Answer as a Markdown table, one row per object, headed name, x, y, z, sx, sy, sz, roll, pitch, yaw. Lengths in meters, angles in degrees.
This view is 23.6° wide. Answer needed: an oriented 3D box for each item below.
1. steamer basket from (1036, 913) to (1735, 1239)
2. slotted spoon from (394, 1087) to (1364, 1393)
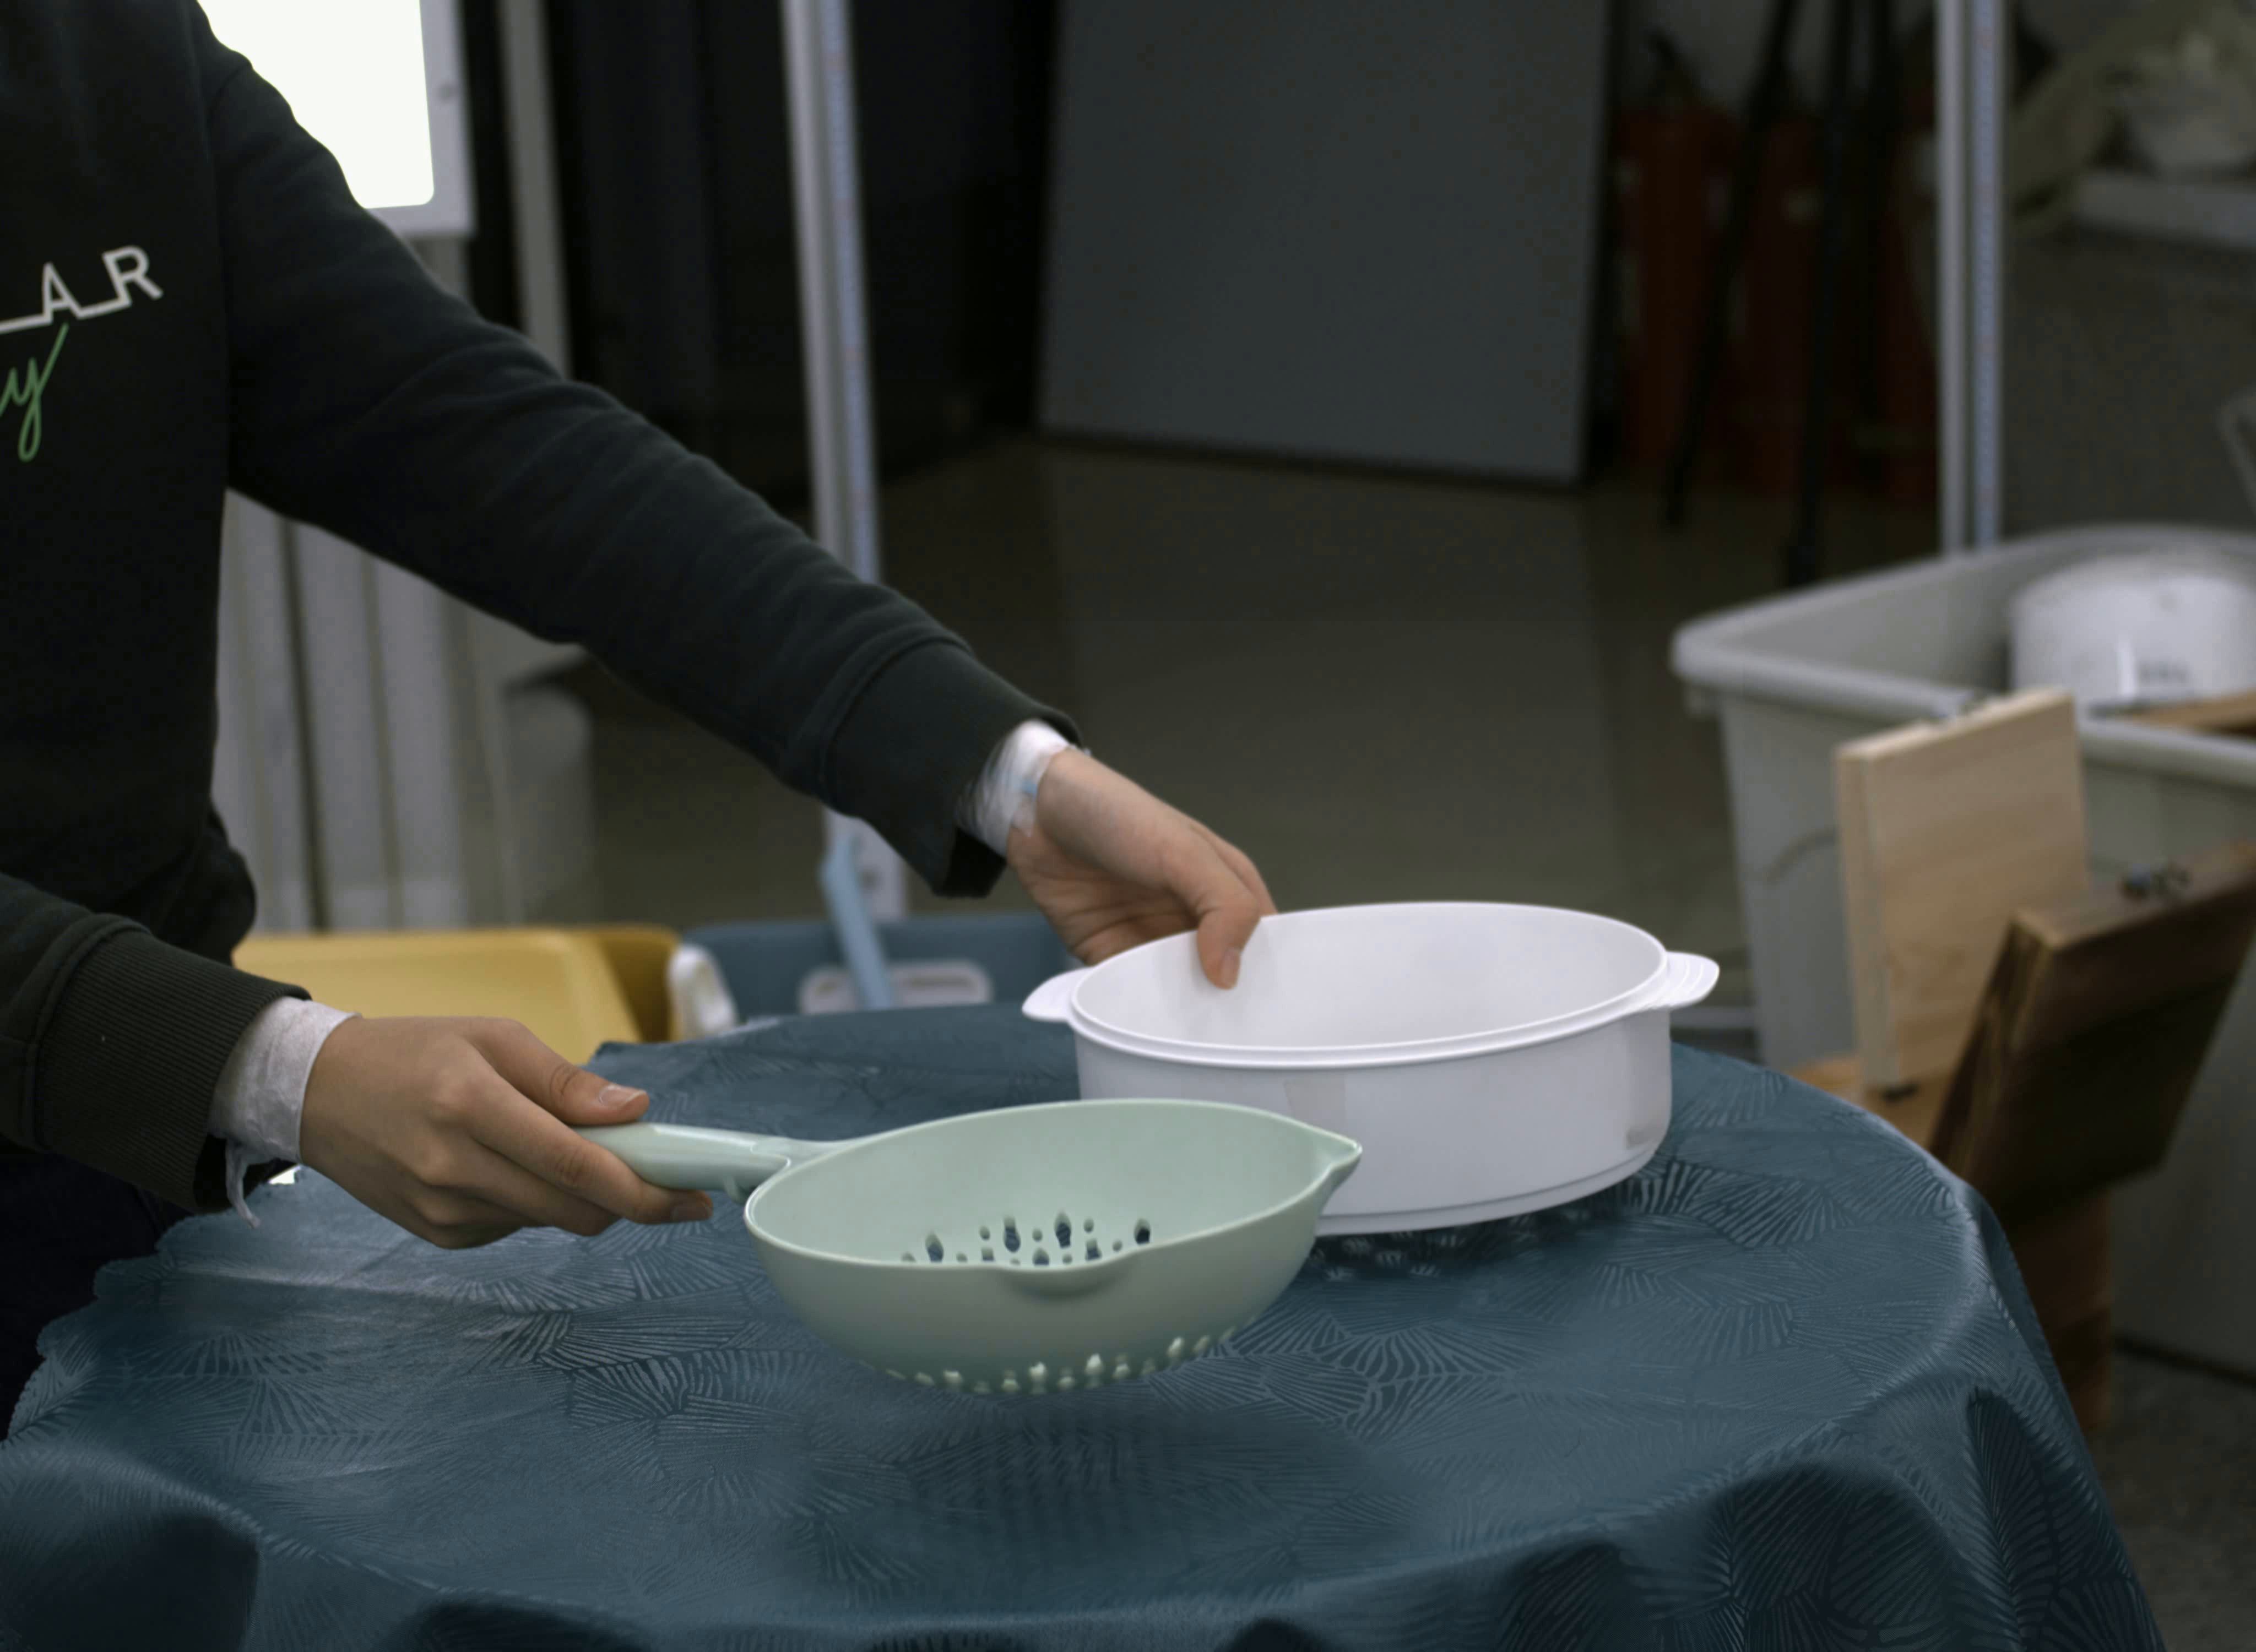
| name | x | y | z | sx | sy | sz | roll | pitch | yaw |
| --- | --- | --- | --- | --- | --- | --- | --- | --- | --- |
| steamer basket | 0.085 | 0.081 | 1.753 | 0.229 | 0.070 | 0.200 | -3 | 10 | 14 |
| slotted spoon | -0.096 | 0.105 | 1.591 | 0.362 | 0.076 | 0.166 | 13 | 20 | 40 |
